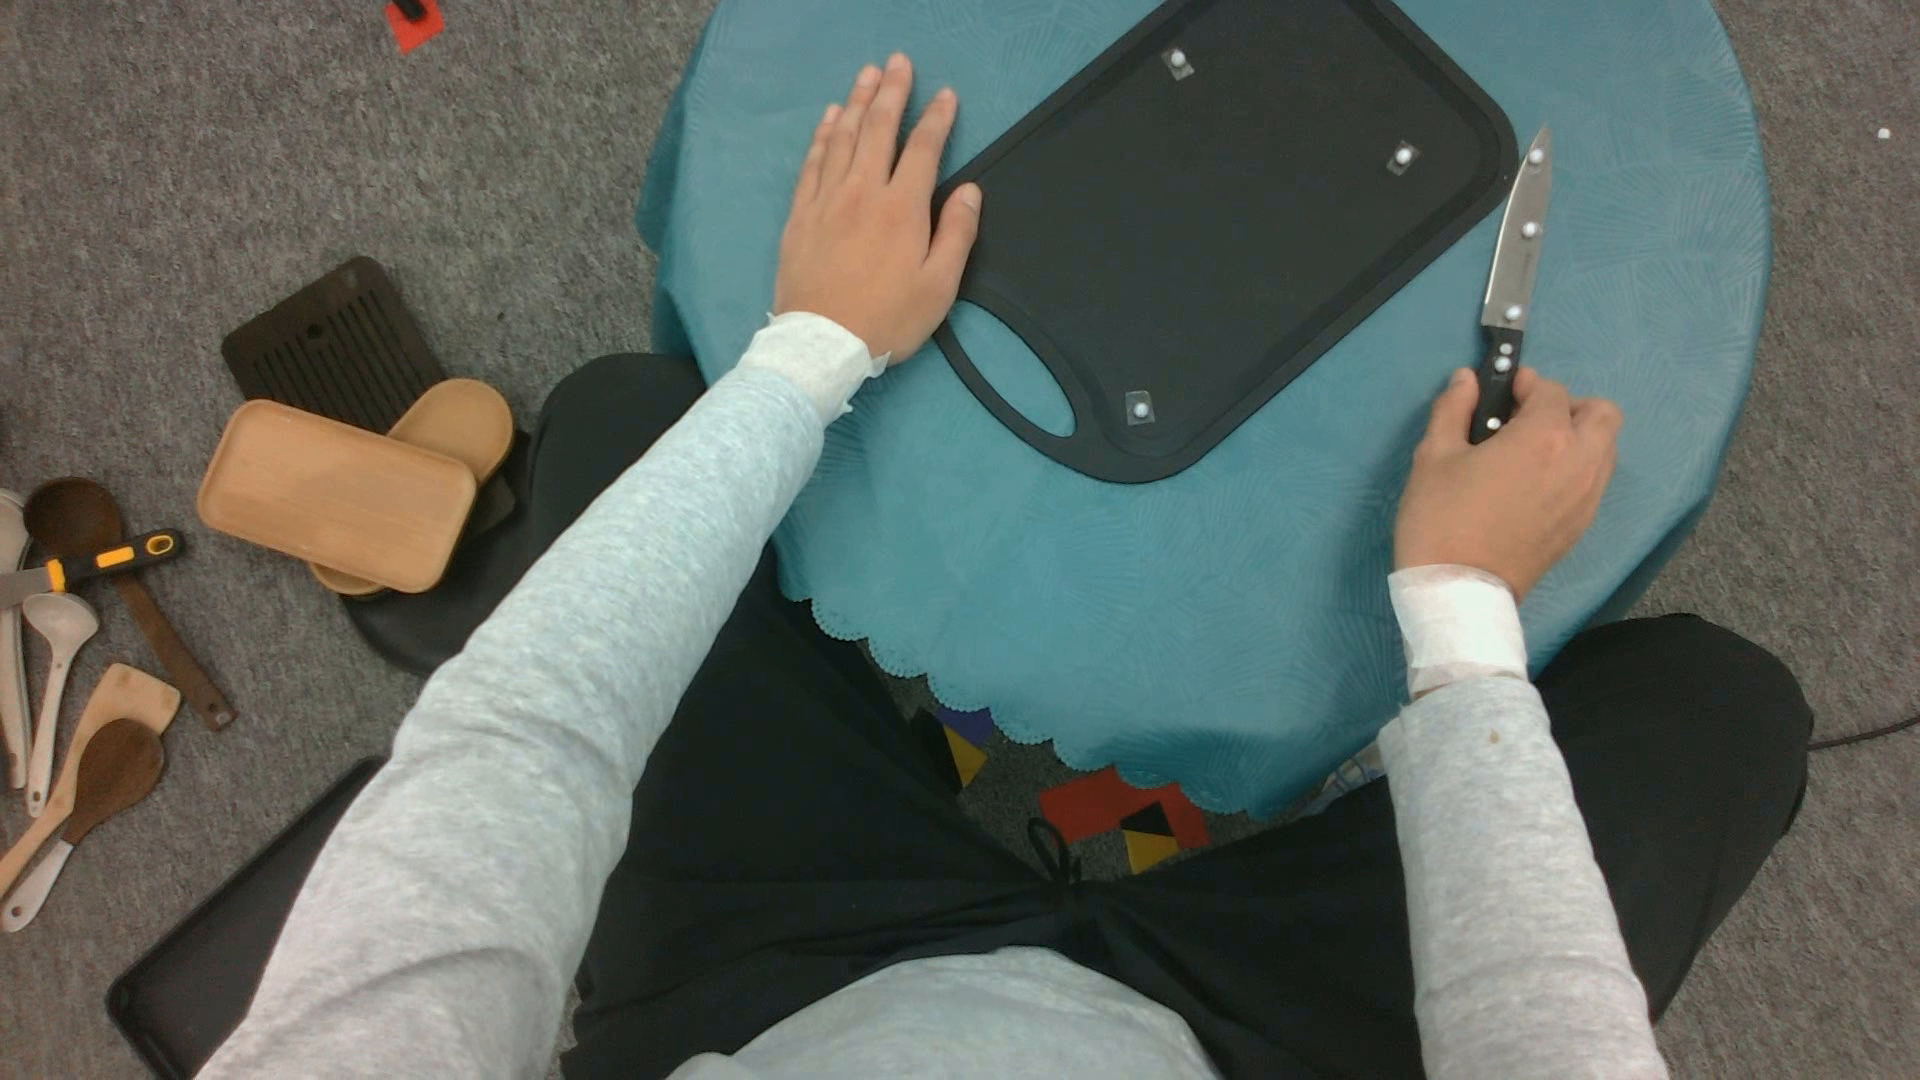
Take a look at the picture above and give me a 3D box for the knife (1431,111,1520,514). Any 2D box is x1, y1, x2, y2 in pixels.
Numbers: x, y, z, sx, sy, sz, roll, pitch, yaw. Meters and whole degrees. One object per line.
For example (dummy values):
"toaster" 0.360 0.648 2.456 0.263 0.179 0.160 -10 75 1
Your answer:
"knife" 0.281 -0.125 0.737 0.024 0.016 0.238 12 76 9

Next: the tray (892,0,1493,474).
"tray" 0.123 -0.187 0.754 0.326 0.010 0.211 -40 81 -6
